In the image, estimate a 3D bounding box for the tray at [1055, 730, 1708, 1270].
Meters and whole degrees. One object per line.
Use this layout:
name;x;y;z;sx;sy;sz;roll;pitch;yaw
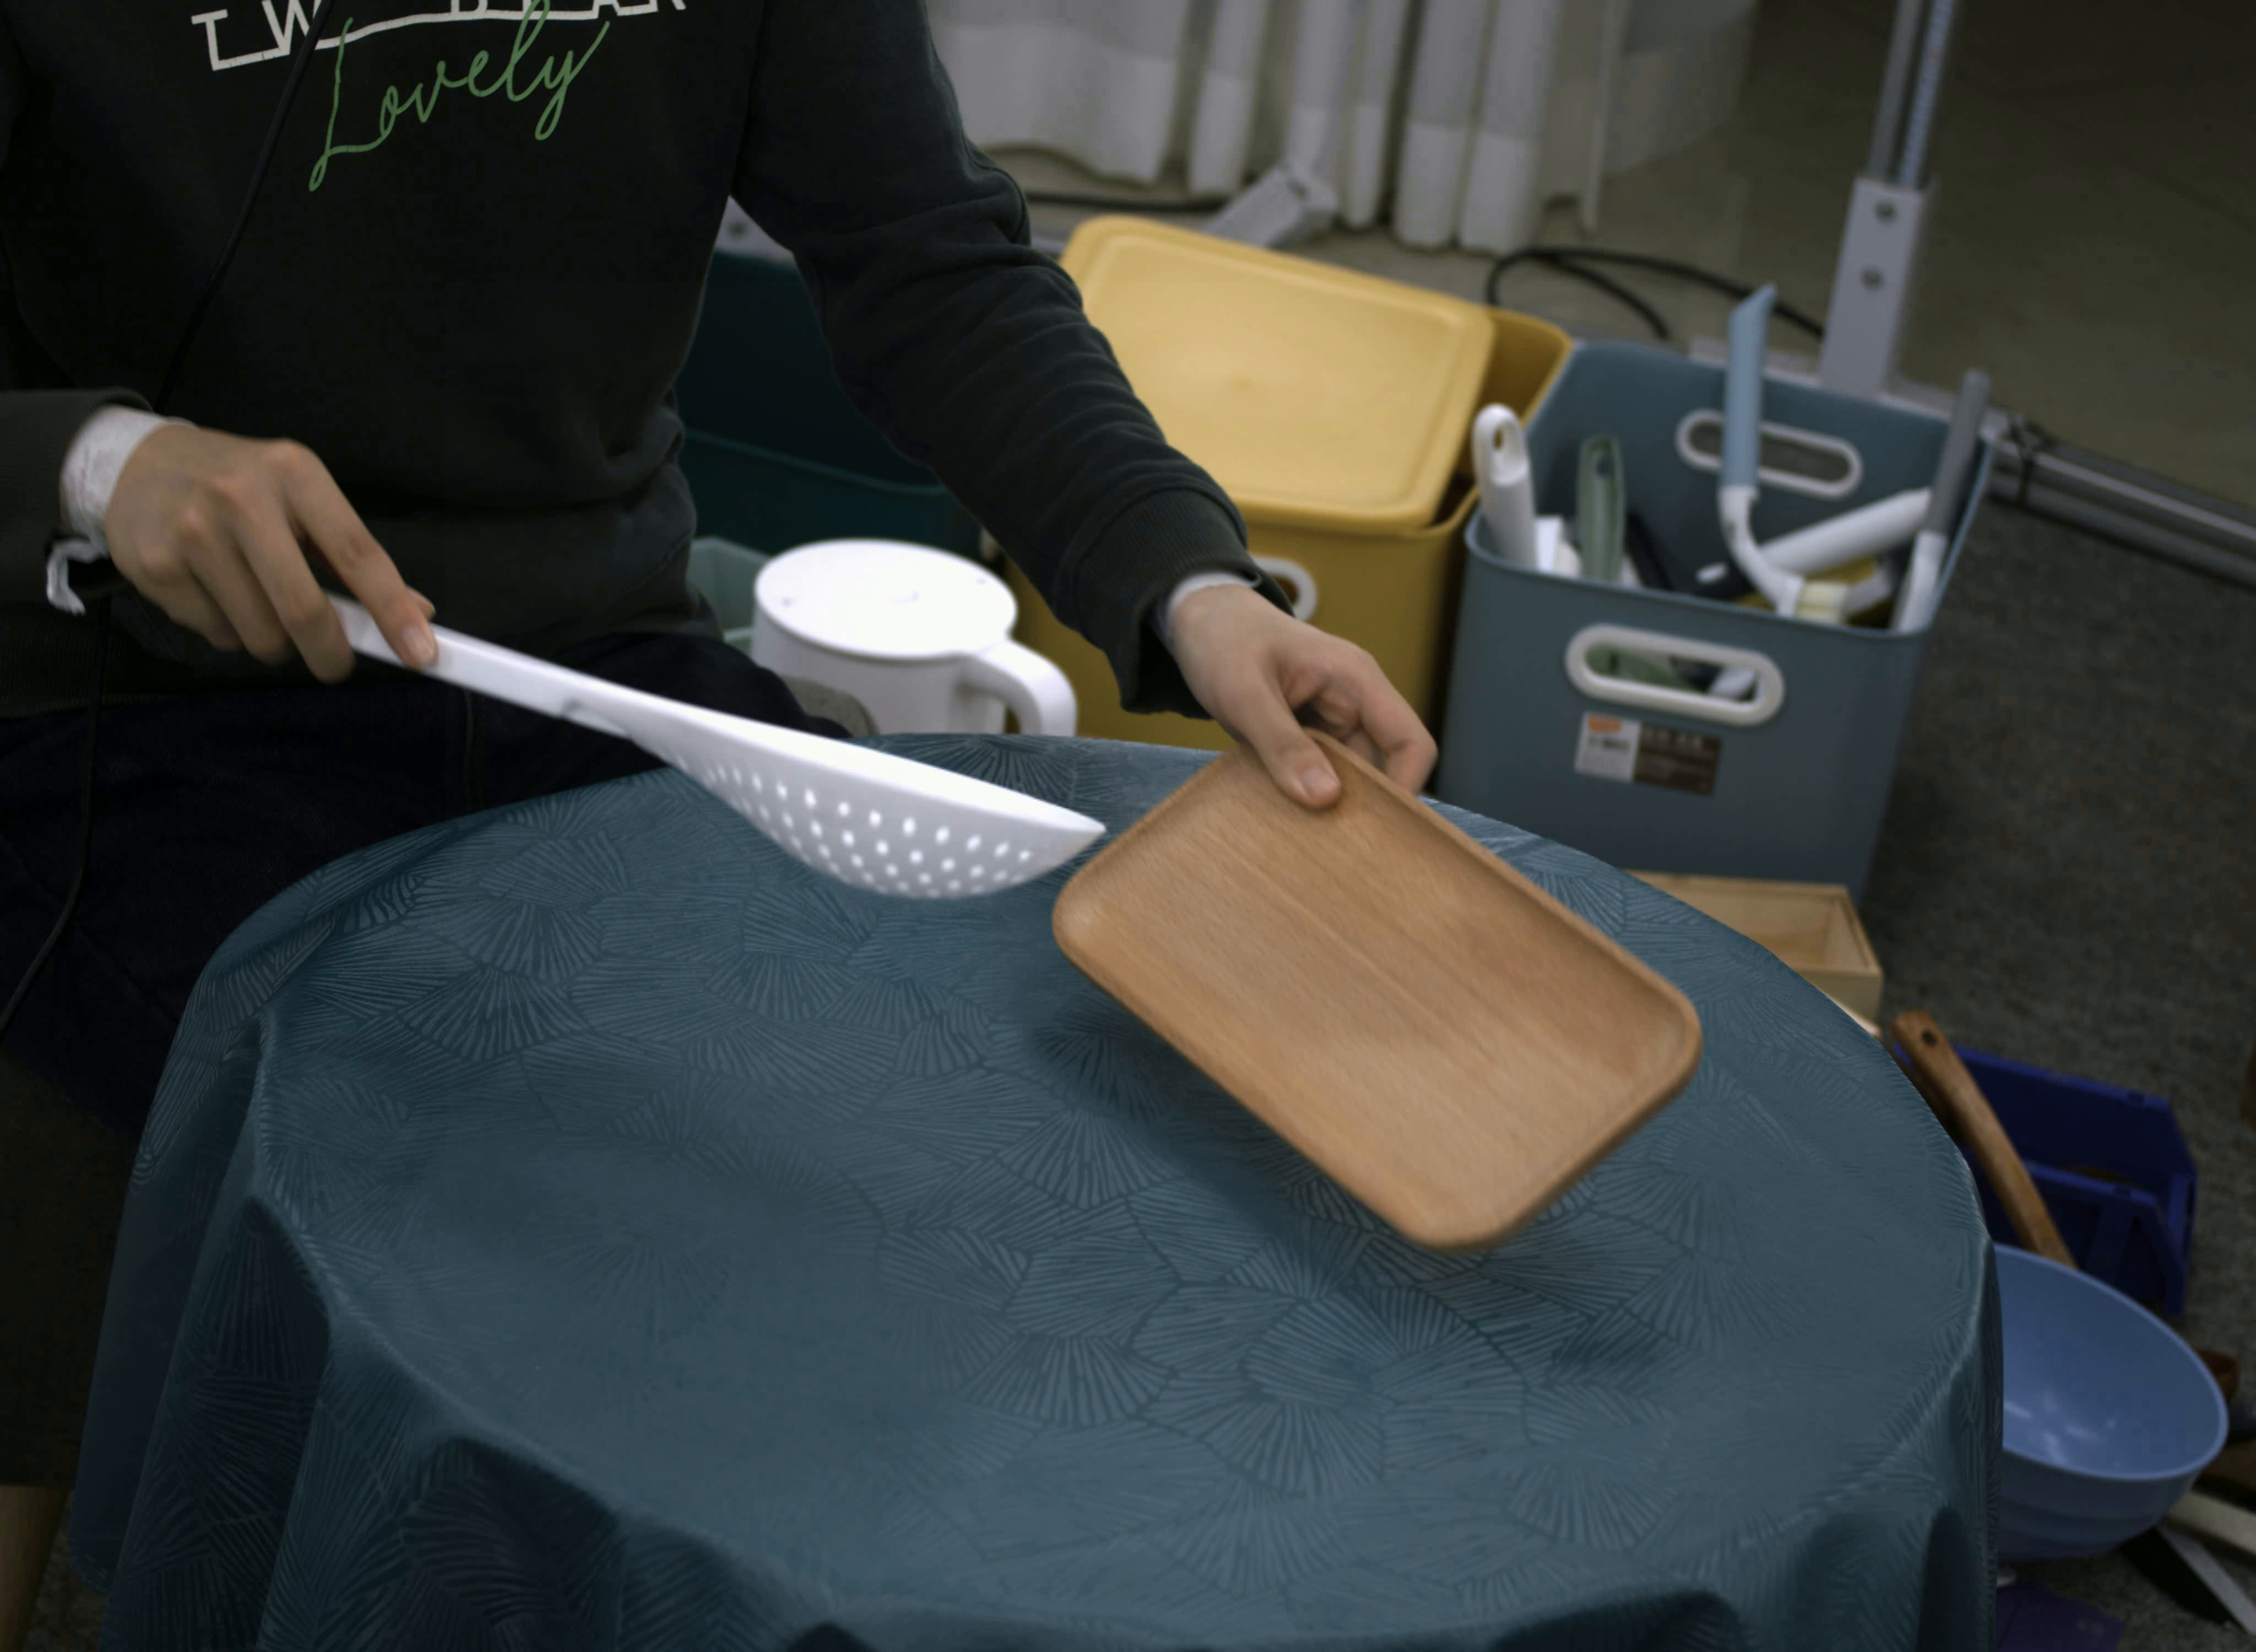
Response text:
tray;0.084;0.057;1.826;0.130;0.022;0.253;-37;44;-14

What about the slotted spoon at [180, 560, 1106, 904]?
slotted spoon;-0.168;-0.038;1.754;0.351;0.046;0.135;22;5;24
